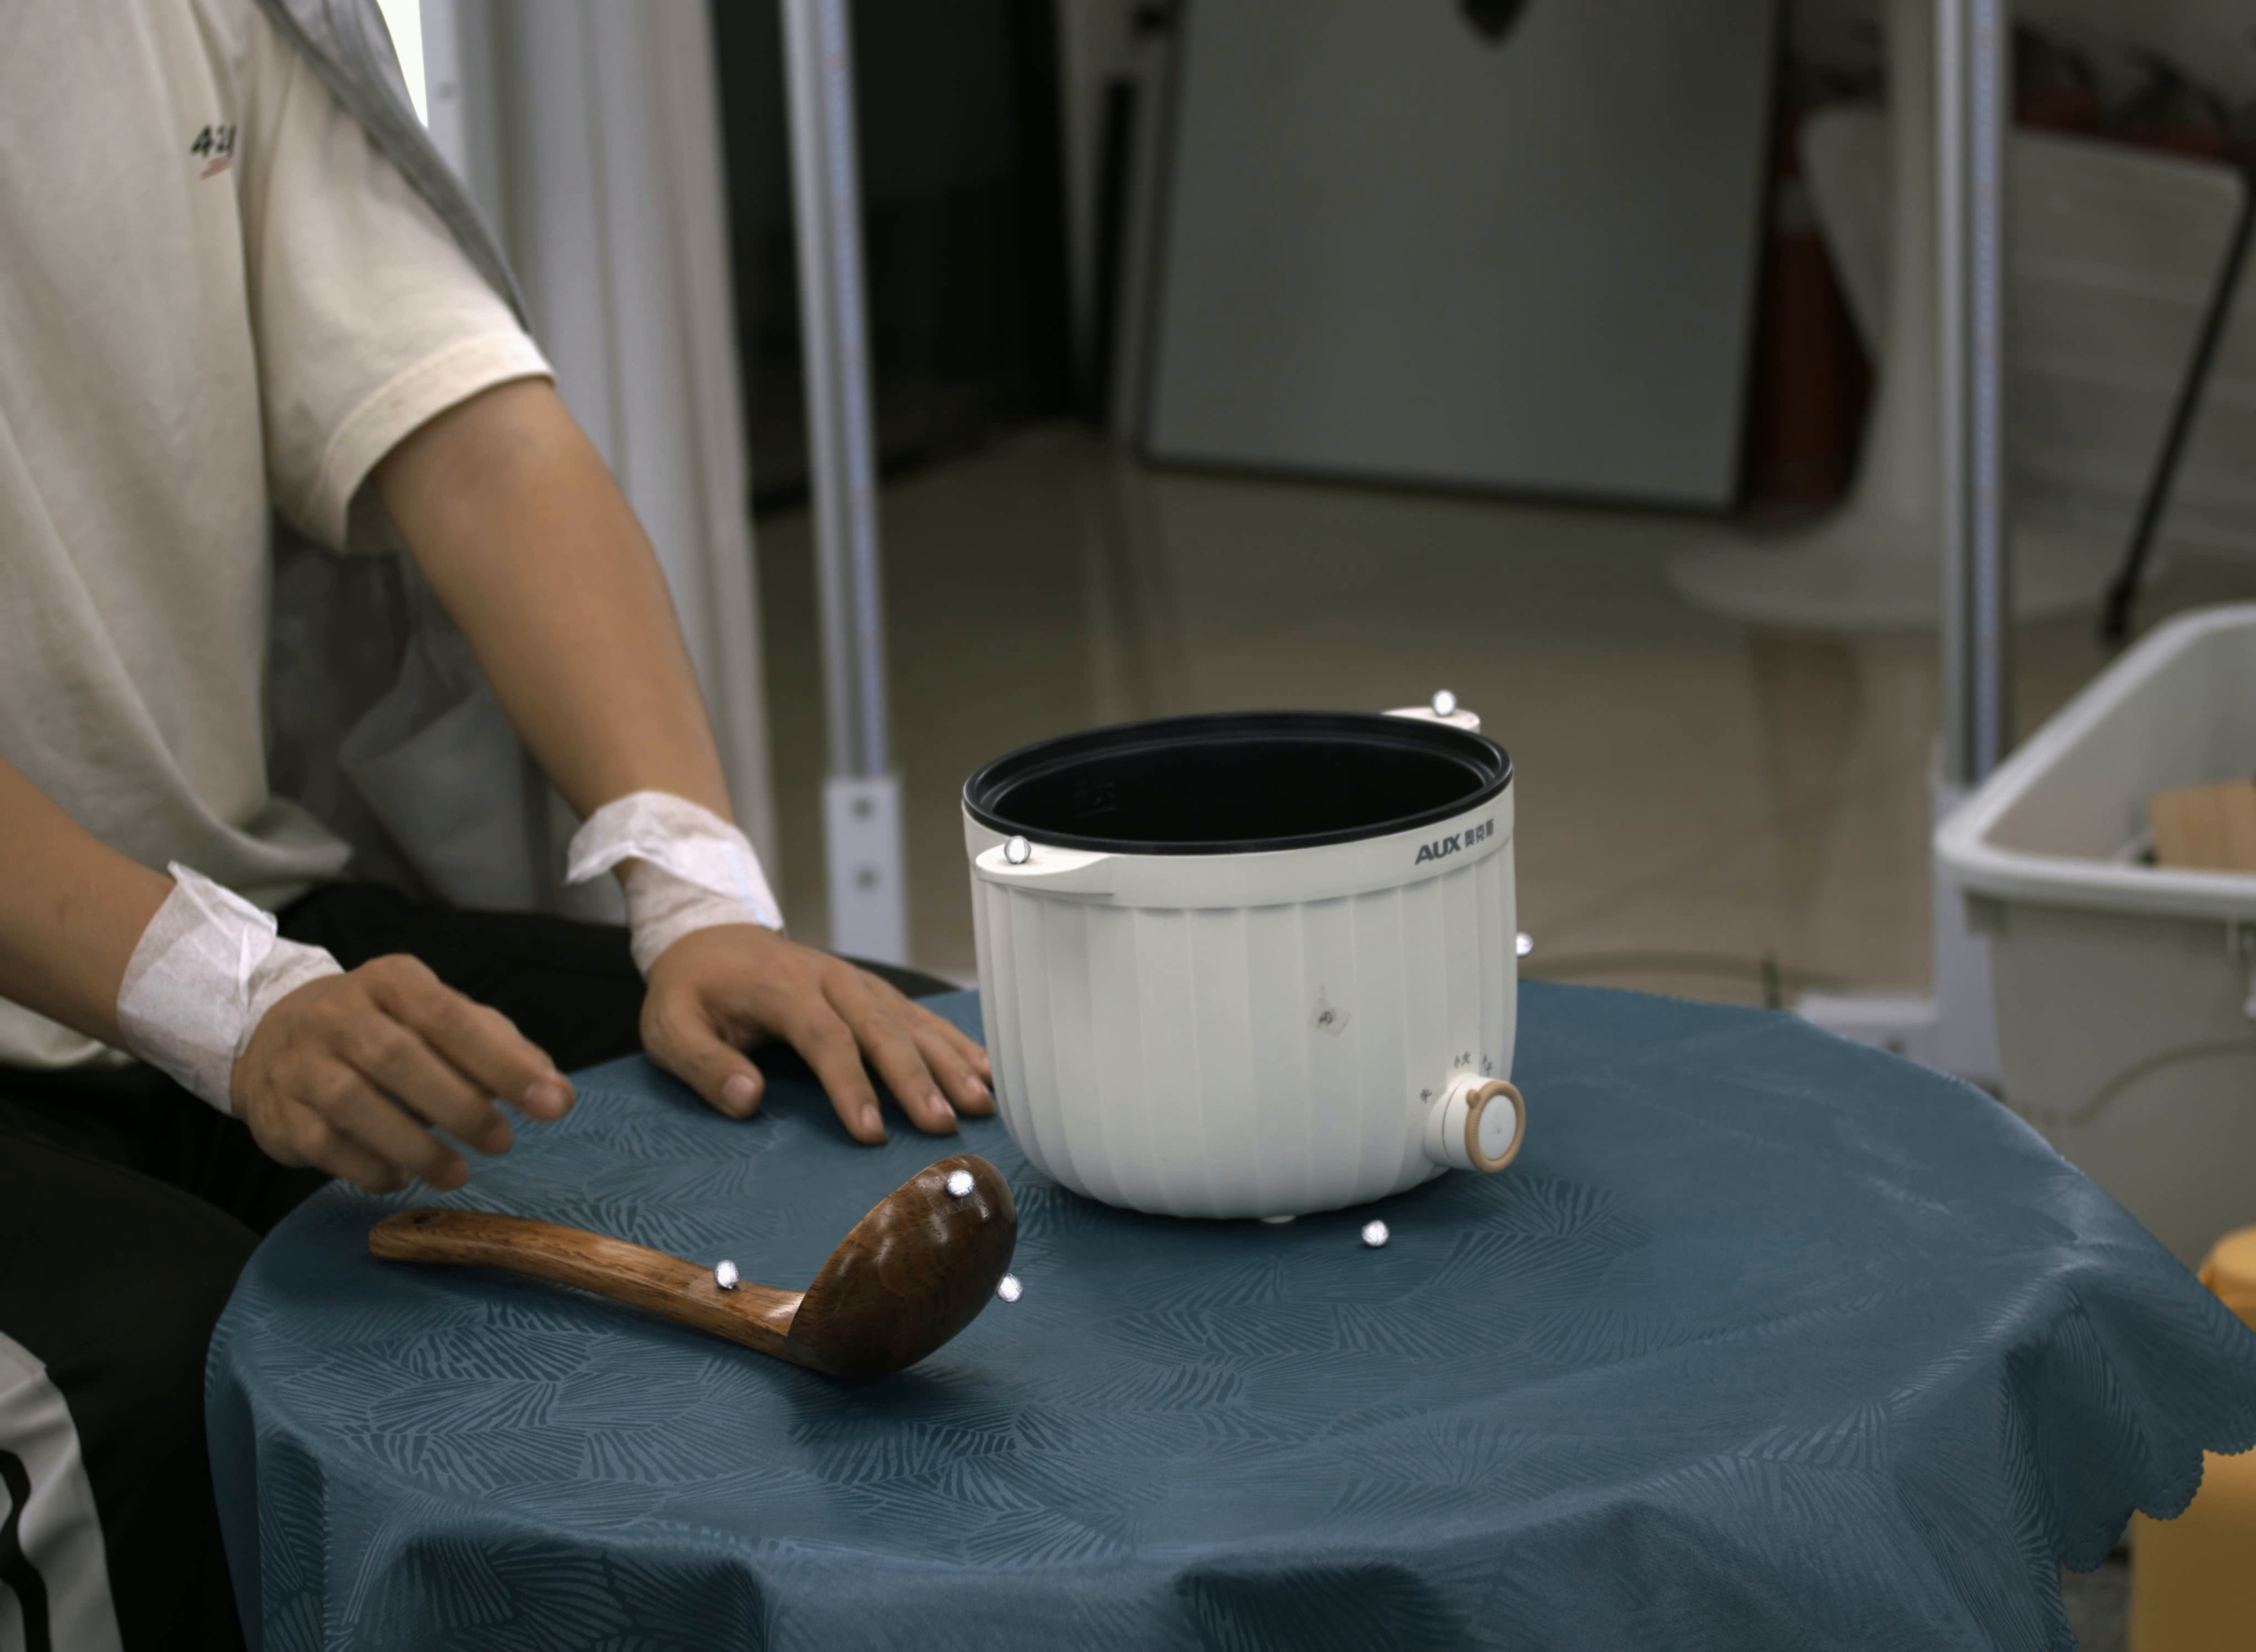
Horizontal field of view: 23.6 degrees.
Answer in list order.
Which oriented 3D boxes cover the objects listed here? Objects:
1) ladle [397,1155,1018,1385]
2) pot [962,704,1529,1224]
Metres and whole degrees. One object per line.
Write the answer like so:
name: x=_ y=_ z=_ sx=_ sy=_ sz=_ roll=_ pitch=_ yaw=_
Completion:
ladle: x=-0.141 y=0.120 z=1.664 sx=0.276 sy=0.077 sz=0.080 roll=10 pitch=22 yaw=44
pot: x=0.044 y=0.047 z=1.771 sx=0.192 sy=0.144 sz=0.236 roll=4 pitch=16 yaw=41
